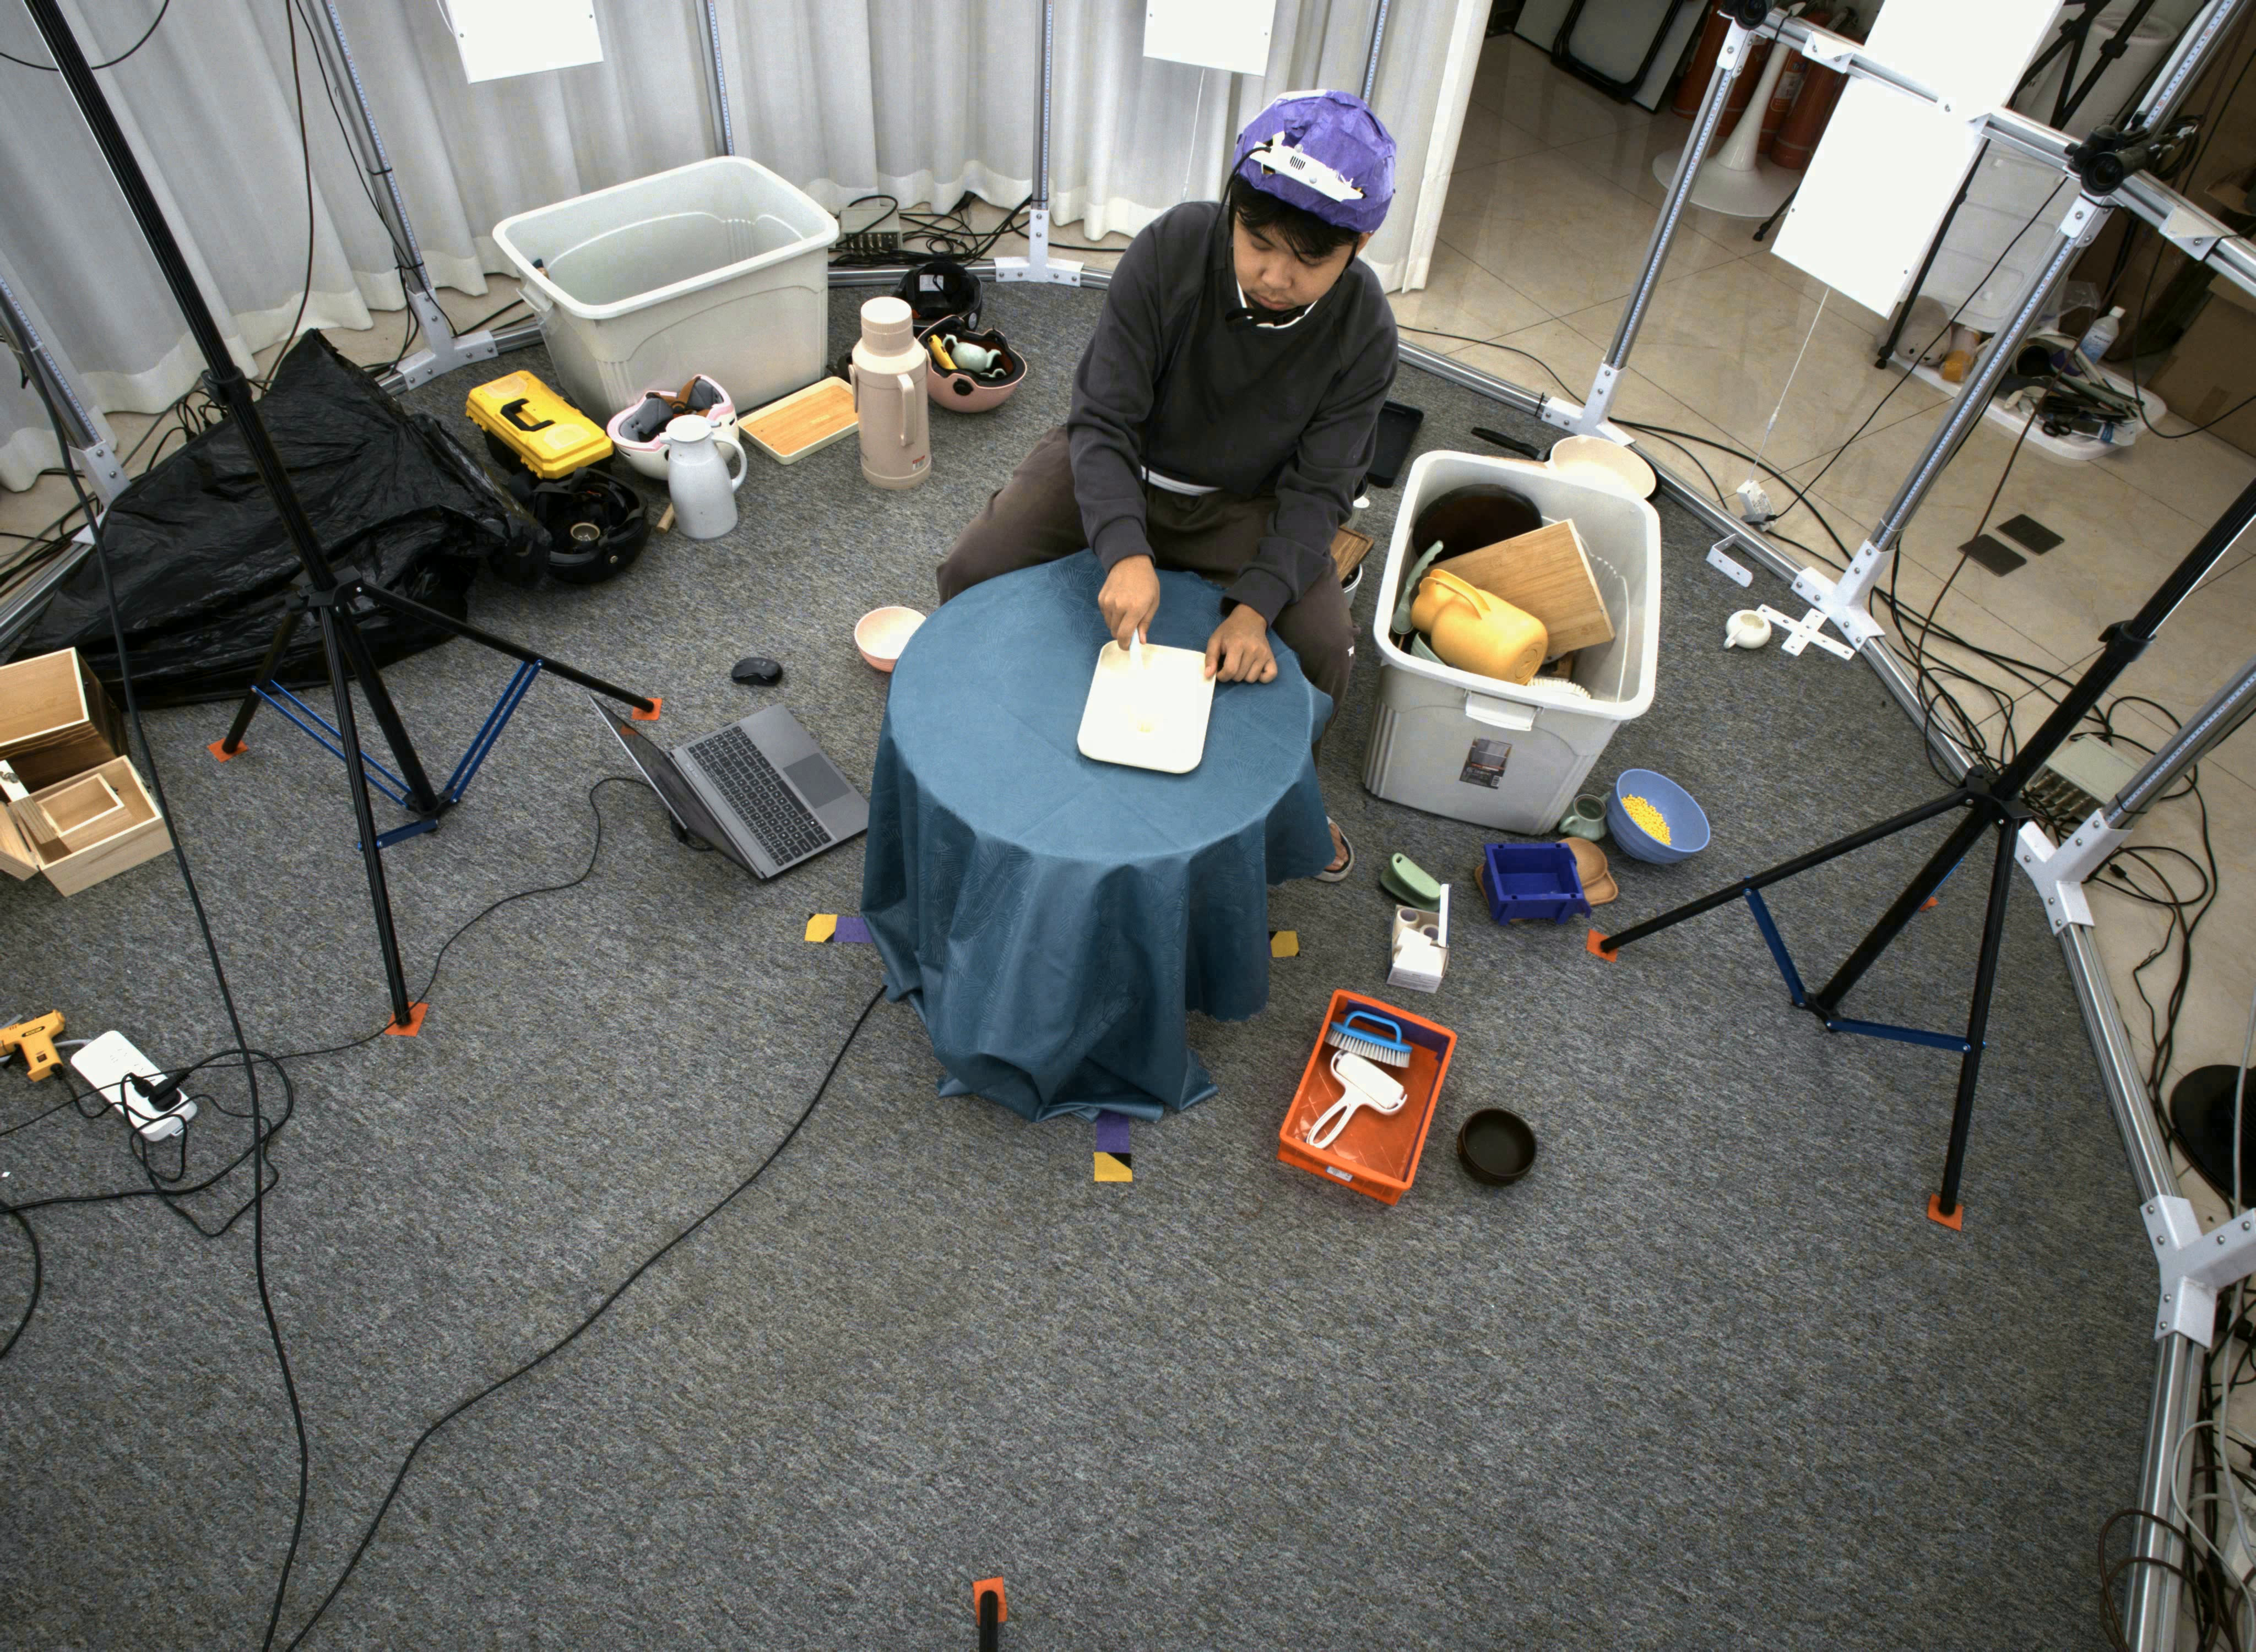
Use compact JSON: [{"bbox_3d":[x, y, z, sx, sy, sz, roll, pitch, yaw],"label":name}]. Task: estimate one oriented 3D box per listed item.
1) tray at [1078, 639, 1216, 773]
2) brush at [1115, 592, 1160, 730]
[{"bbox_3d":[0.030,-0.170,1.803,0.171,0.017,0.245,10,49,3],"label":"tray"},{"bbox_3d":[0.008,-0.238,1.823,0.038,0.048,0.233,-6,62,-10],"label":"brush"}]
